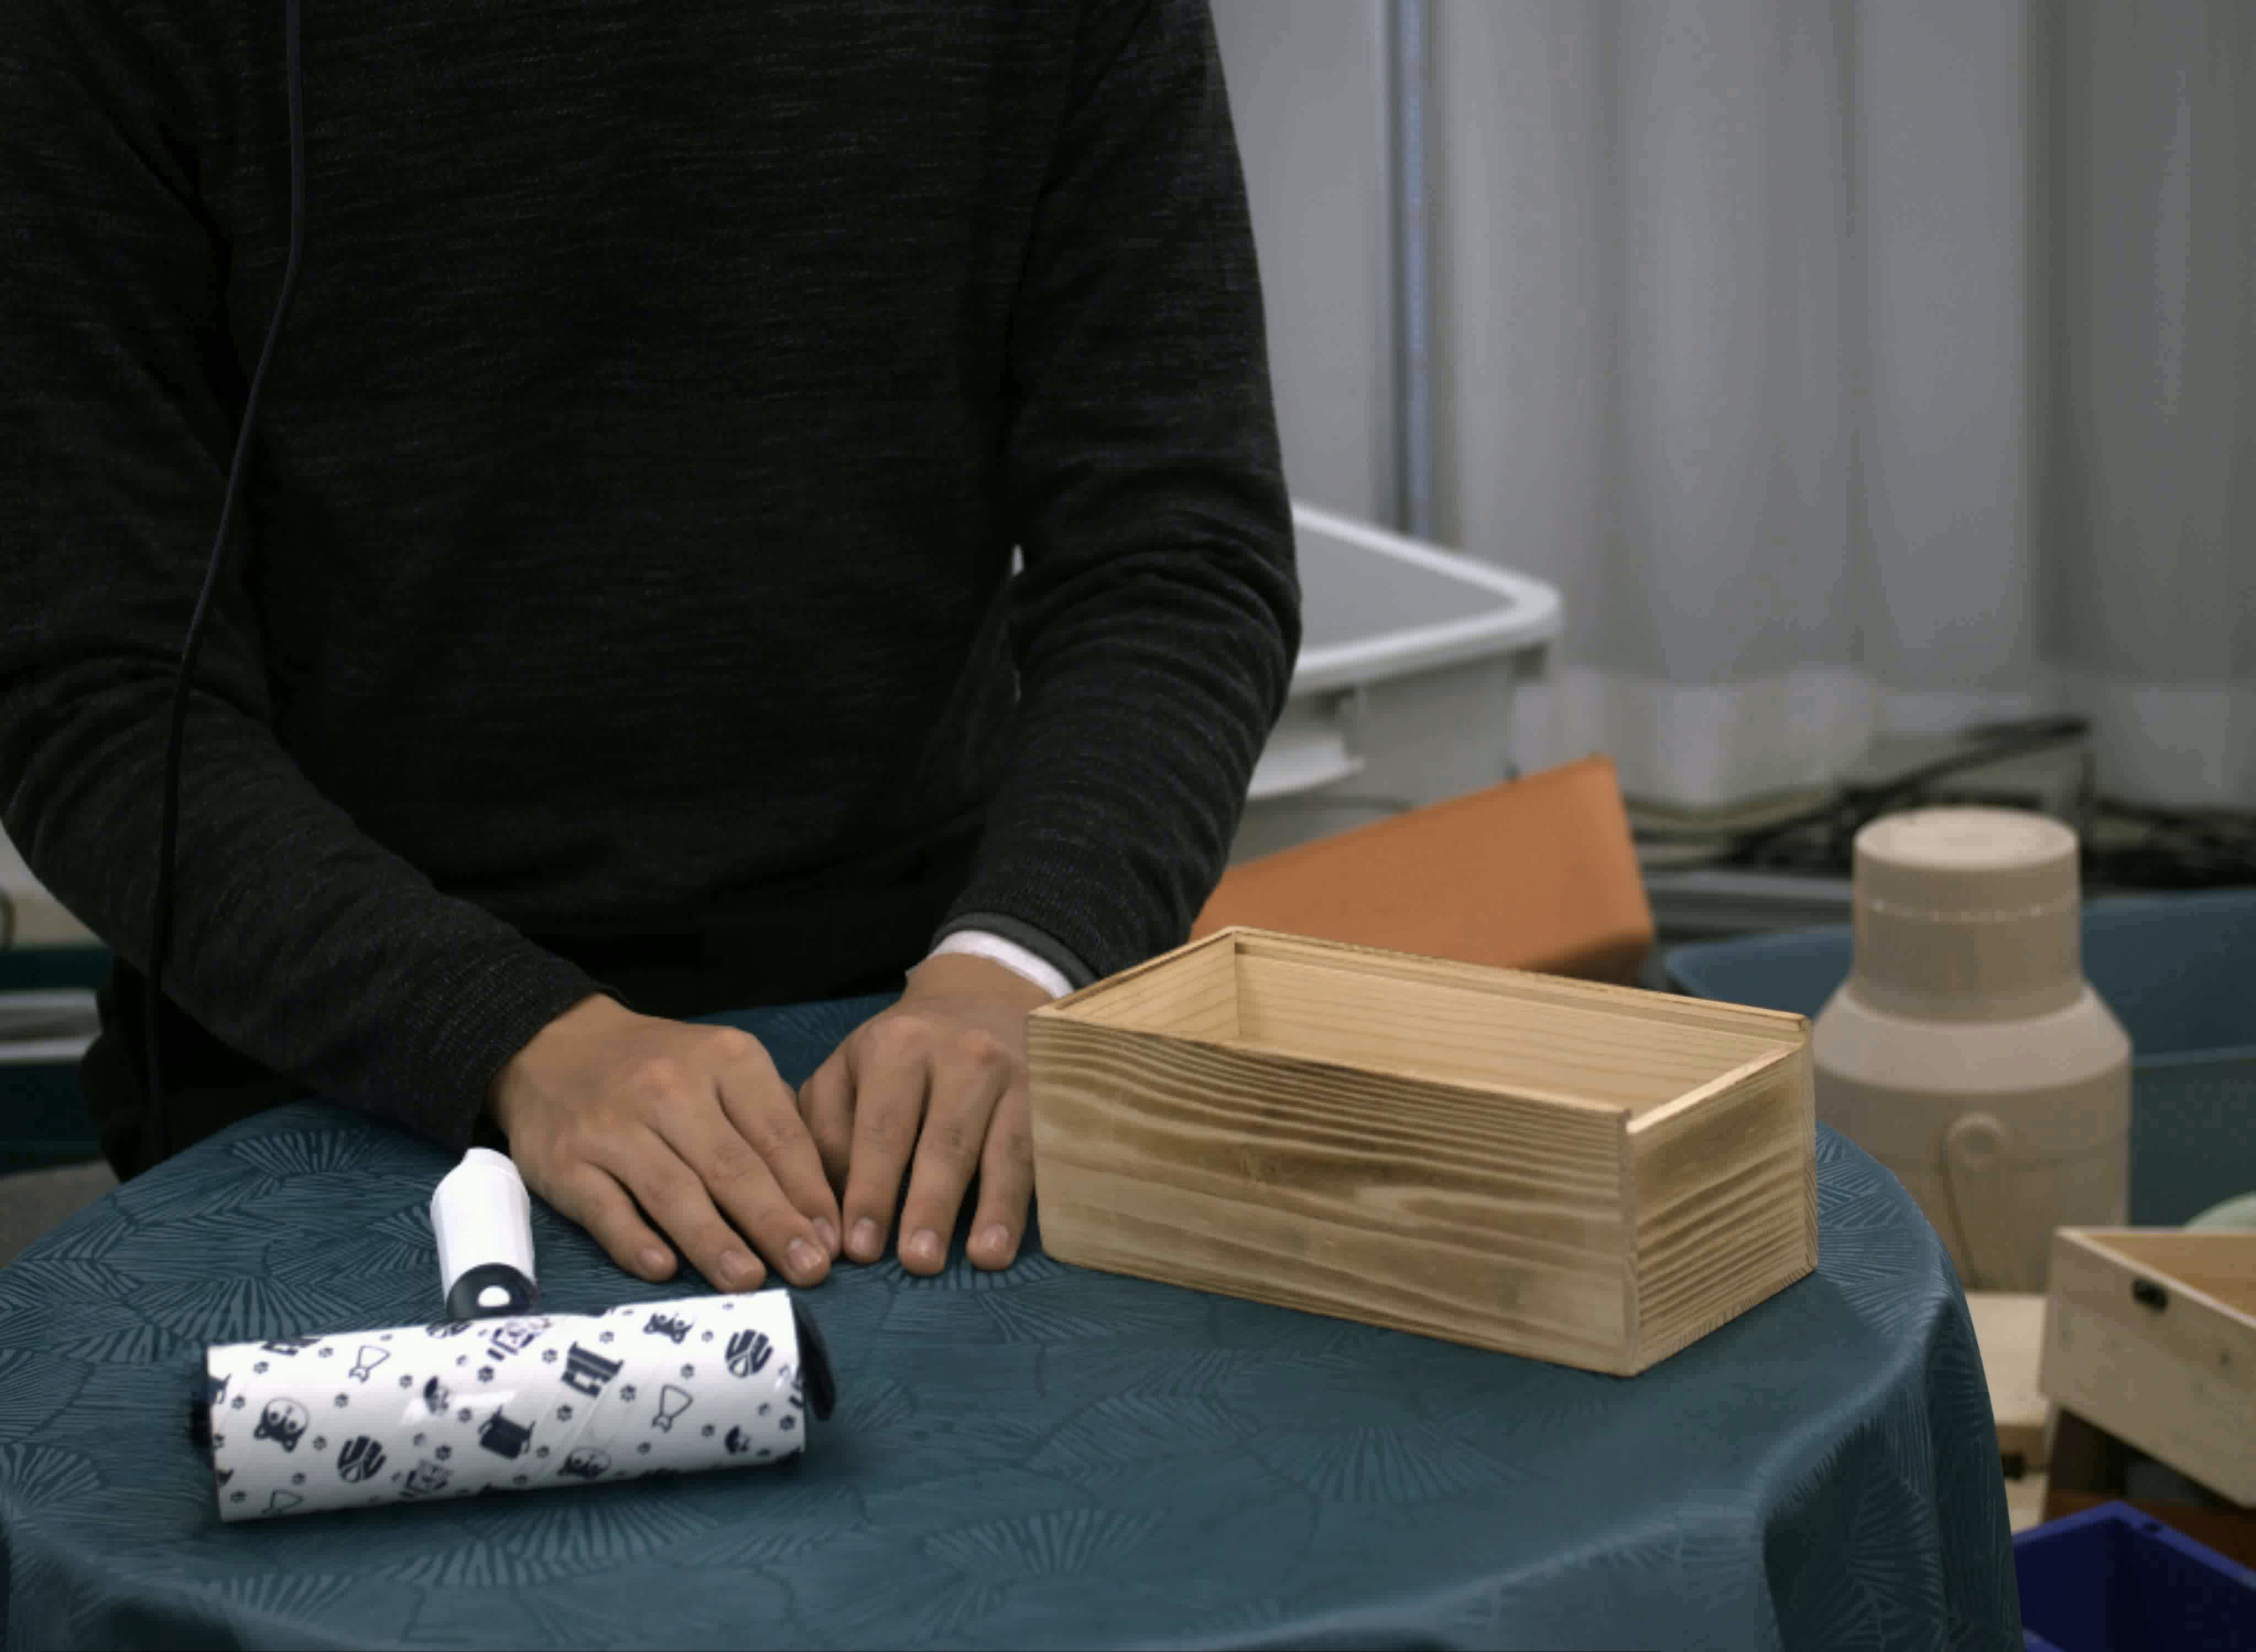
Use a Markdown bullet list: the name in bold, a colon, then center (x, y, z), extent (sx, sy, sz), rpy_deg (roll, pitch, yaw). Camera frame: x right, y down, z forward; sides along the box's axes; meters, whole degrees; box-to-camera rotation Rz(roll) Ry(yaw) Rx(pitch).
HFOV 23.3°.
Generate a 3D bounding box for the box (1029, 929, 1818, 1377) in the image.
- **box**: center (0.086, 0.094, 1.623), extent (0.212, 0.080, 0.107), rpy_deg (8, 17, 36)

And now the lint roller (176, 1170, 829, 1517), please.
- **lint roller**: center (-0.187, 0.135, 1.589), extent (0.175, 0.050, 0.249), rpy_deg (-6, 13, -8)
